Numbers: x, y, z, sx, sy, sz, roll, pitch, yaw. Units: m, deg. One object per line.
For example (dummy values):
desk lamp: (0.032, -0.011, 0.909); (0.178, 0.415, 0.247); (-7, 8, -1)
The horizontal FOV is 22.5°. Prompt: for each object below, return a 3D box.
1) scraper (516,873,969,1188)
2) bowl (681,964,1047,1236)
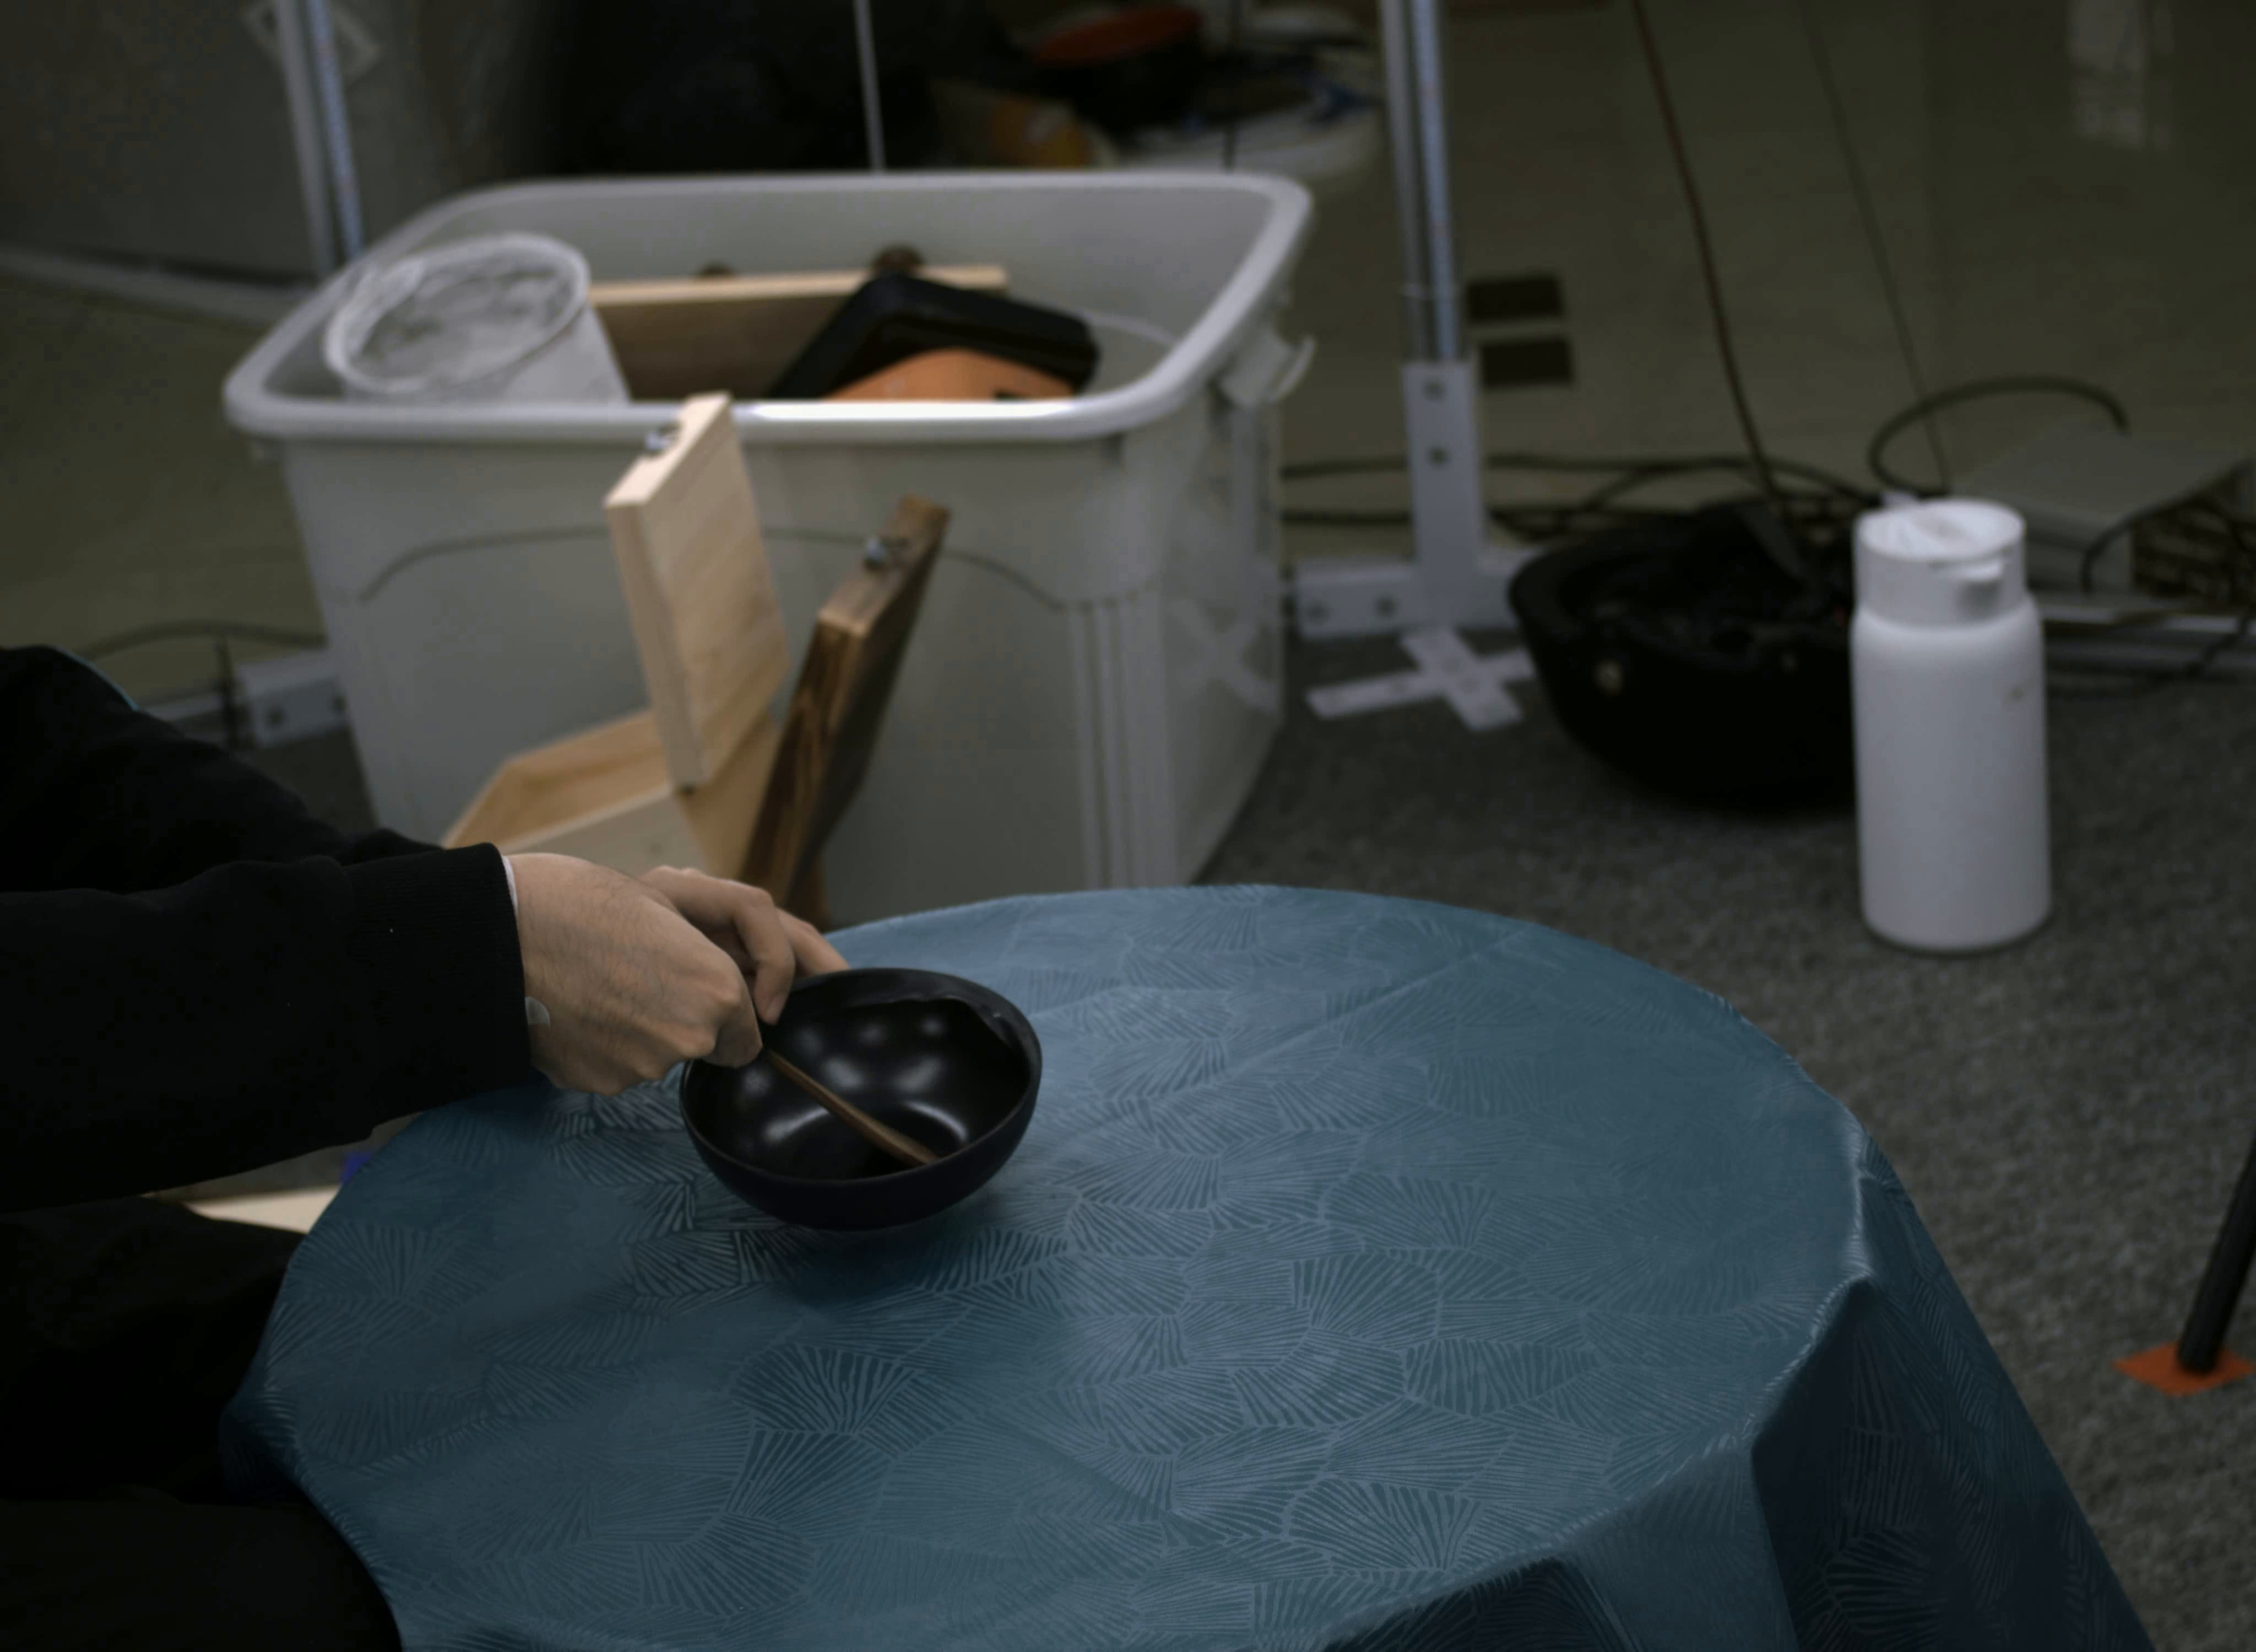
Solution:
scraper: (-0.145, 0.076, 2.106); (0.011, 0.213, 0.075); (-54, 29, -4)
bowl: (-0.099, 0.113, 2.160); (0.140, 0.051, 0.137); (-3, 37, 2)
